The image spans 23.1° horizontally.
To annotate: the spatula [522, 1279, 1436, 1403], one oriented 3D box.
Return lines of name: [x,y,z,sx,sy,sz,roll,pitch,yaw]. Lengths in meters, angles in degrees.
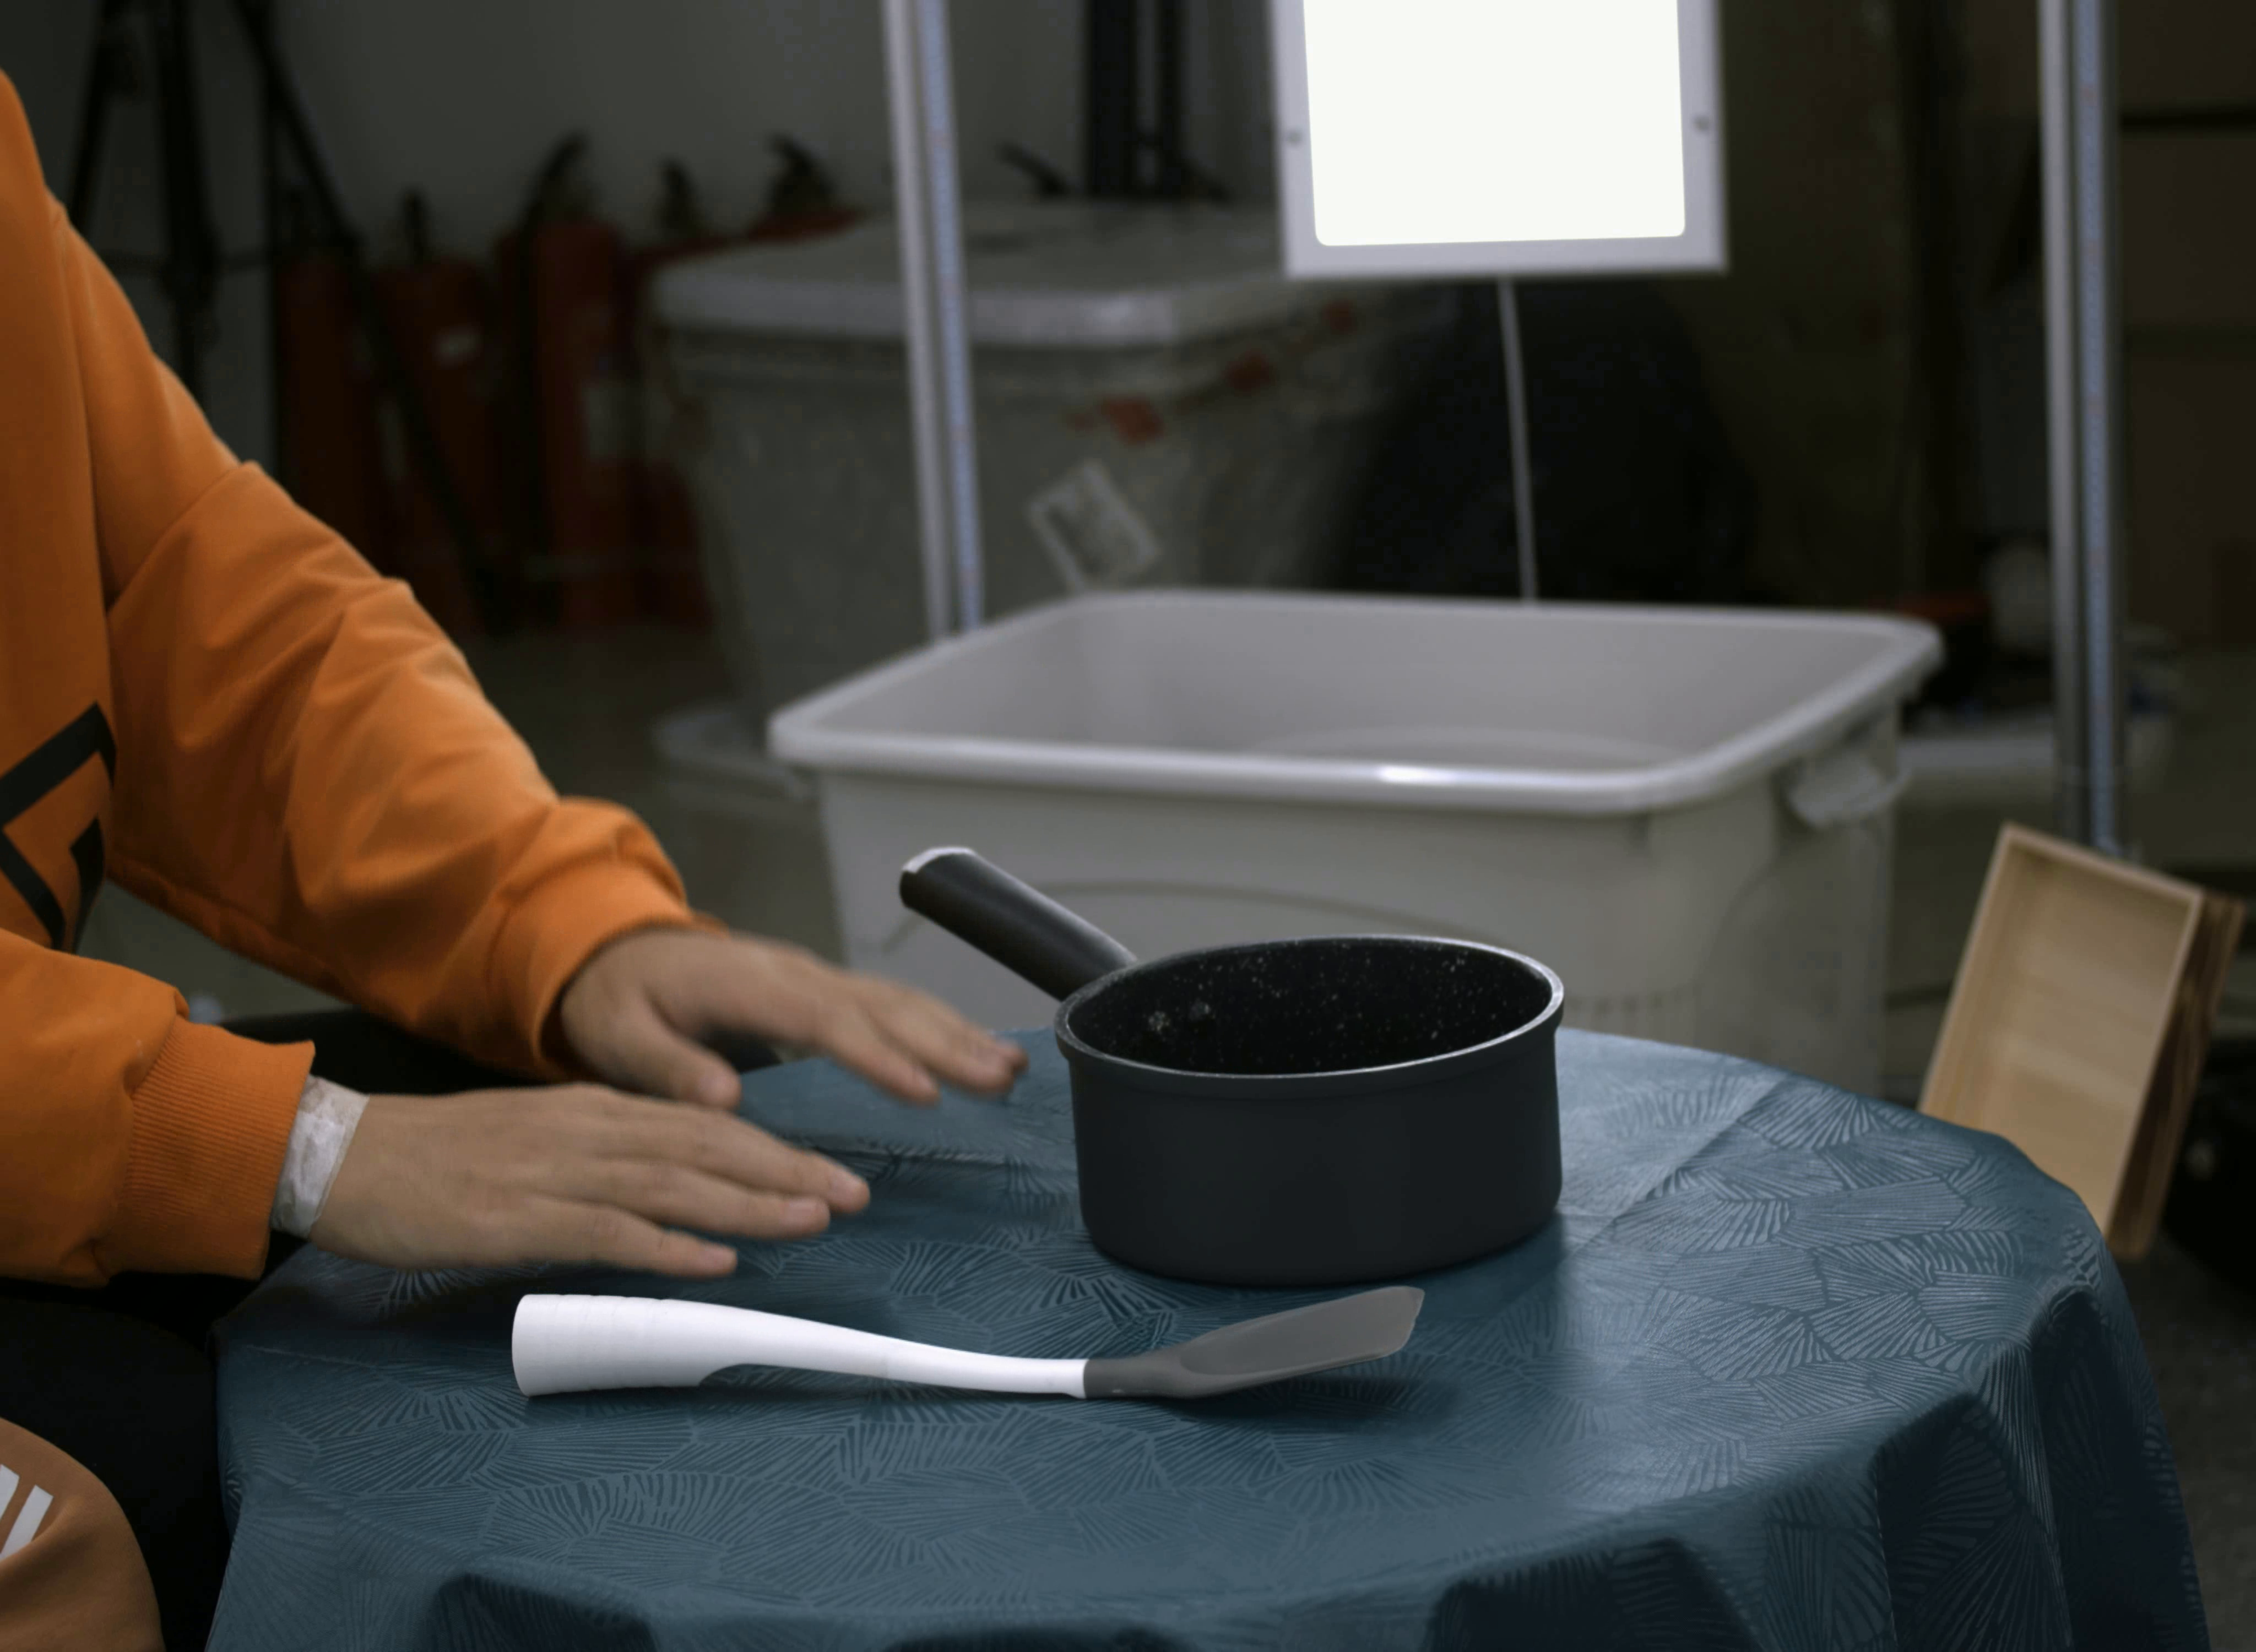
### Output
spatula: [-0.047,0.161,1.706,0.290,0.032,0.058,-2,16,15]

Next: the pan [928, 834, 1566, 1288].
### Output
pan: [0.022,0.077,1.912,0.168,0.087,0.334,-12,17,-28]
